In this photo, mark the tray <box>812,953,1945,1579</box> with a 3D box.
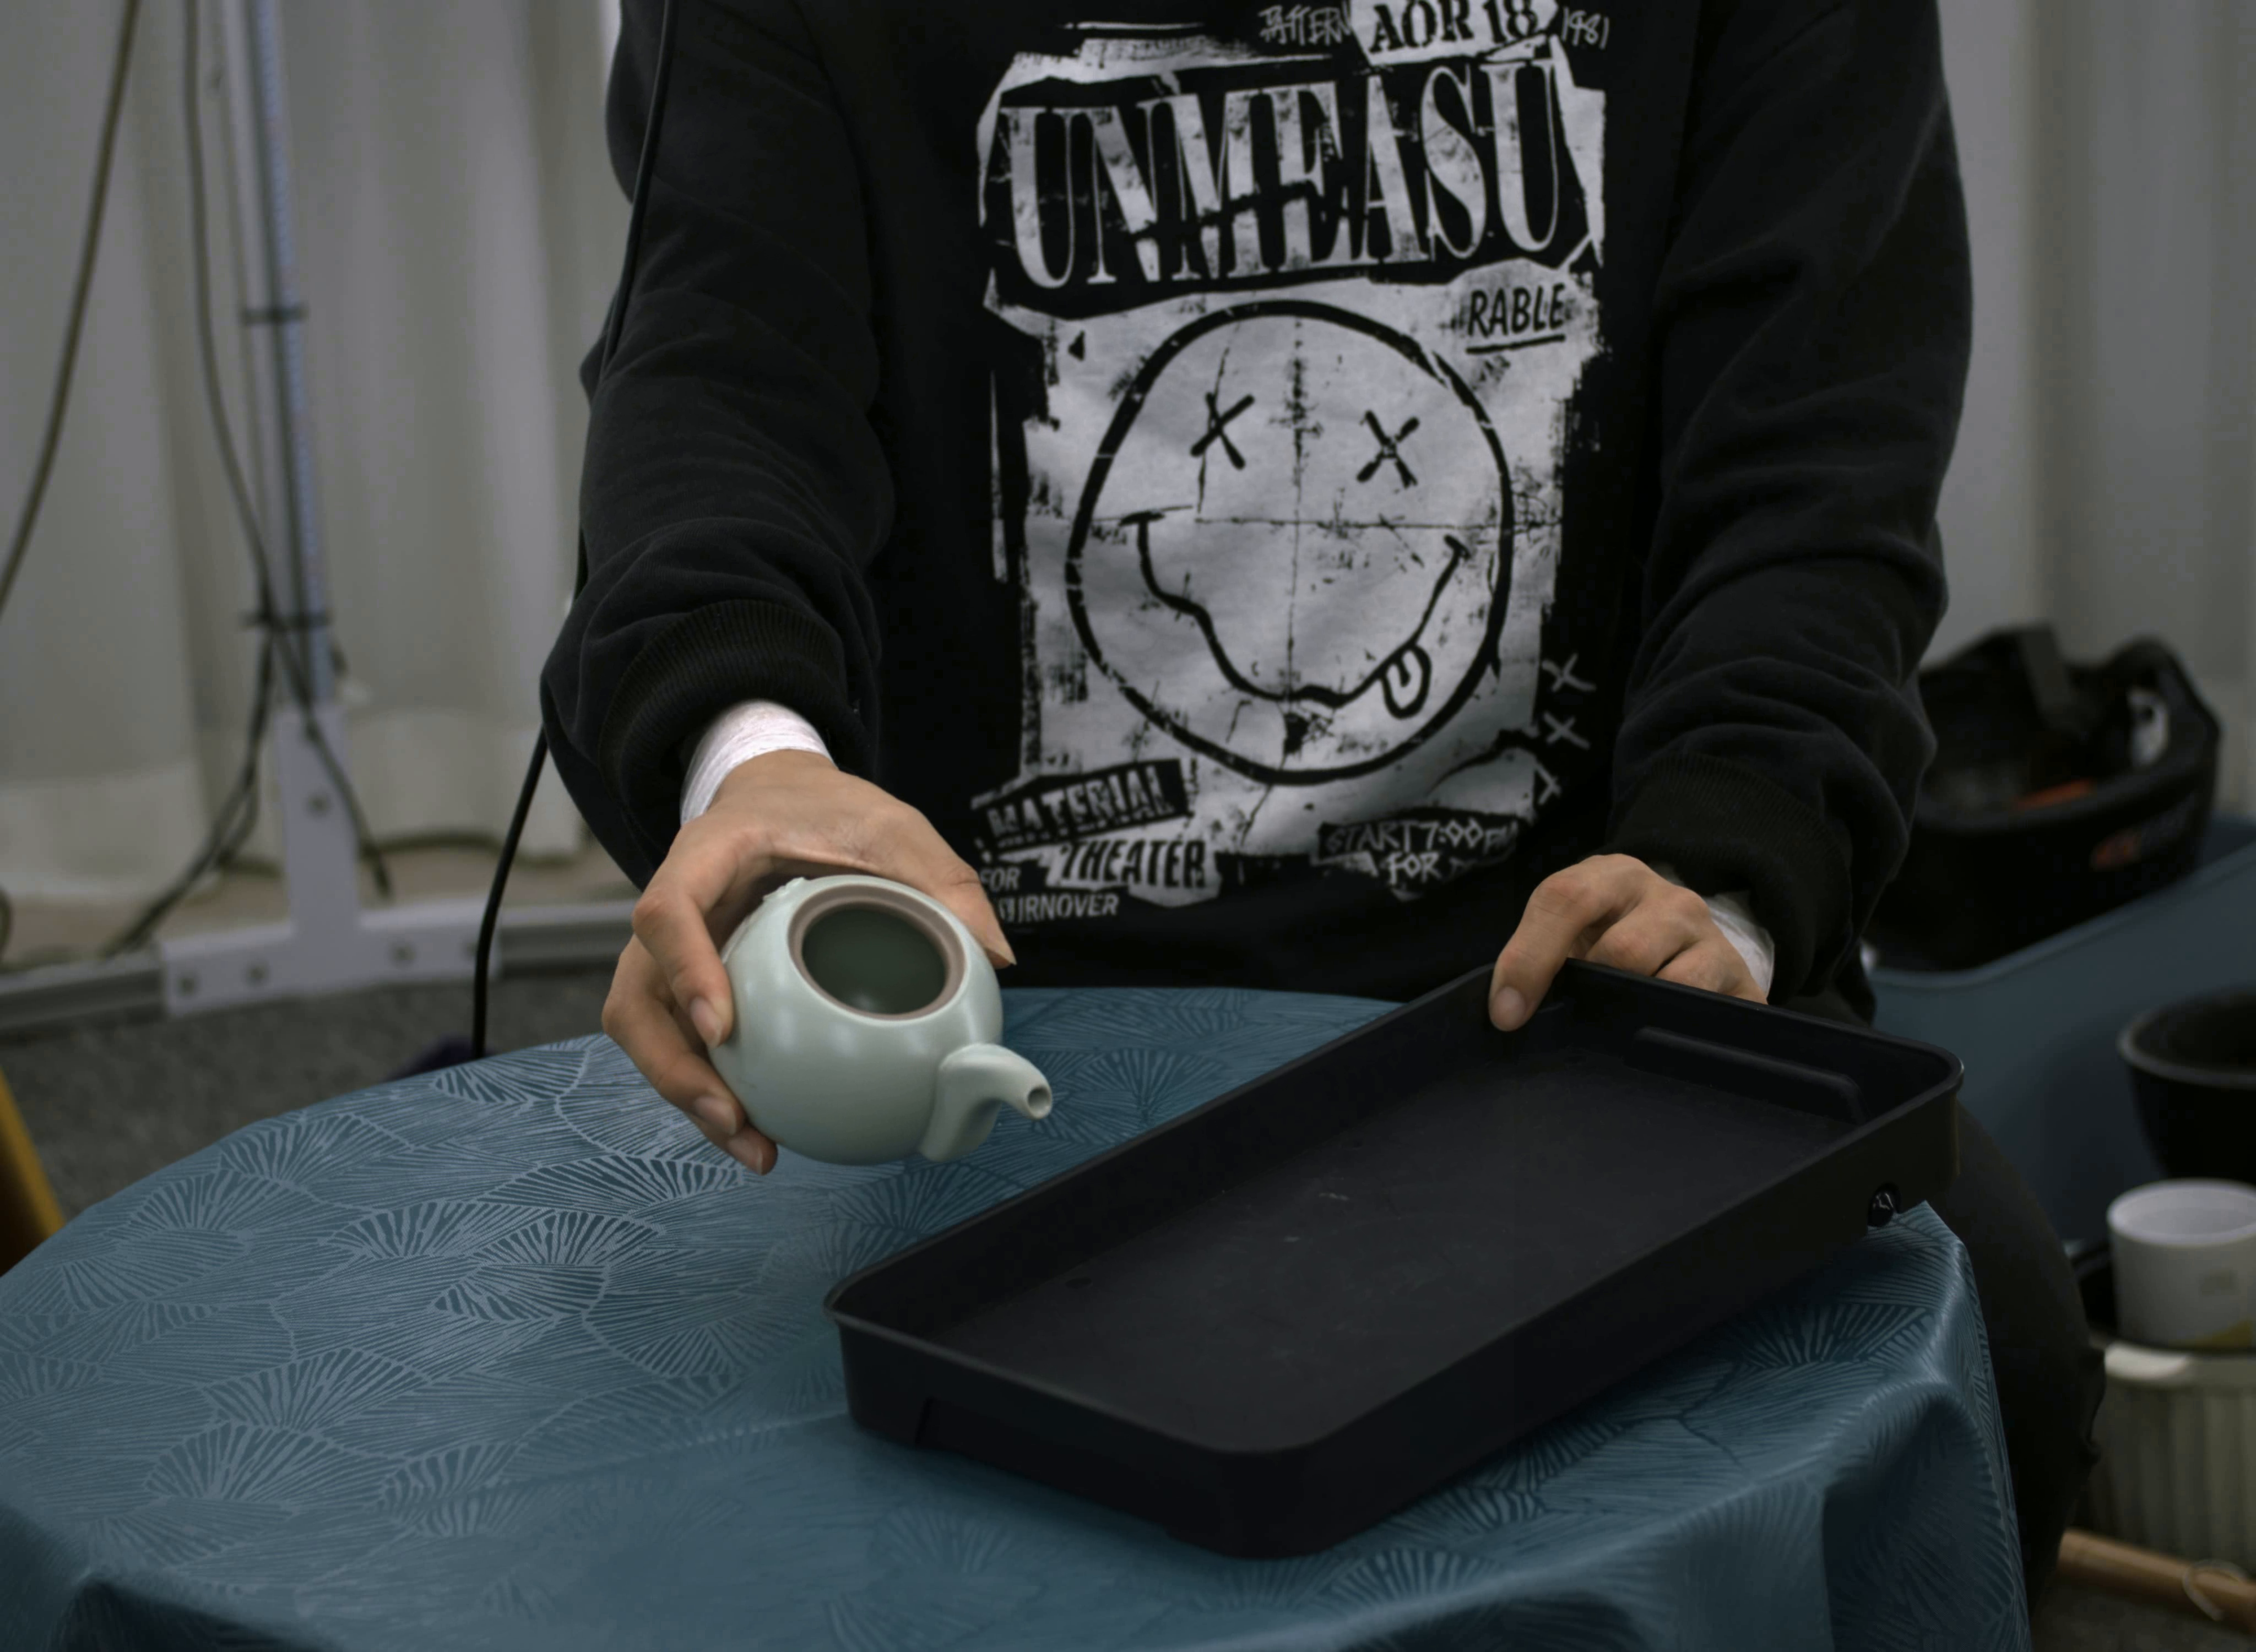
[{"bbox_3d":[0.077,0.118,1.562,0.185,0.037,0.318,13,27,41],"label":"tray"}]

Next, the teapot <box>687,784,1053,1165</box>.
[{"bbox_3d":[-0.080,0.056,1.600,0.088,0.074,0.145,-26,62,-39],"label":"teapot"}]
